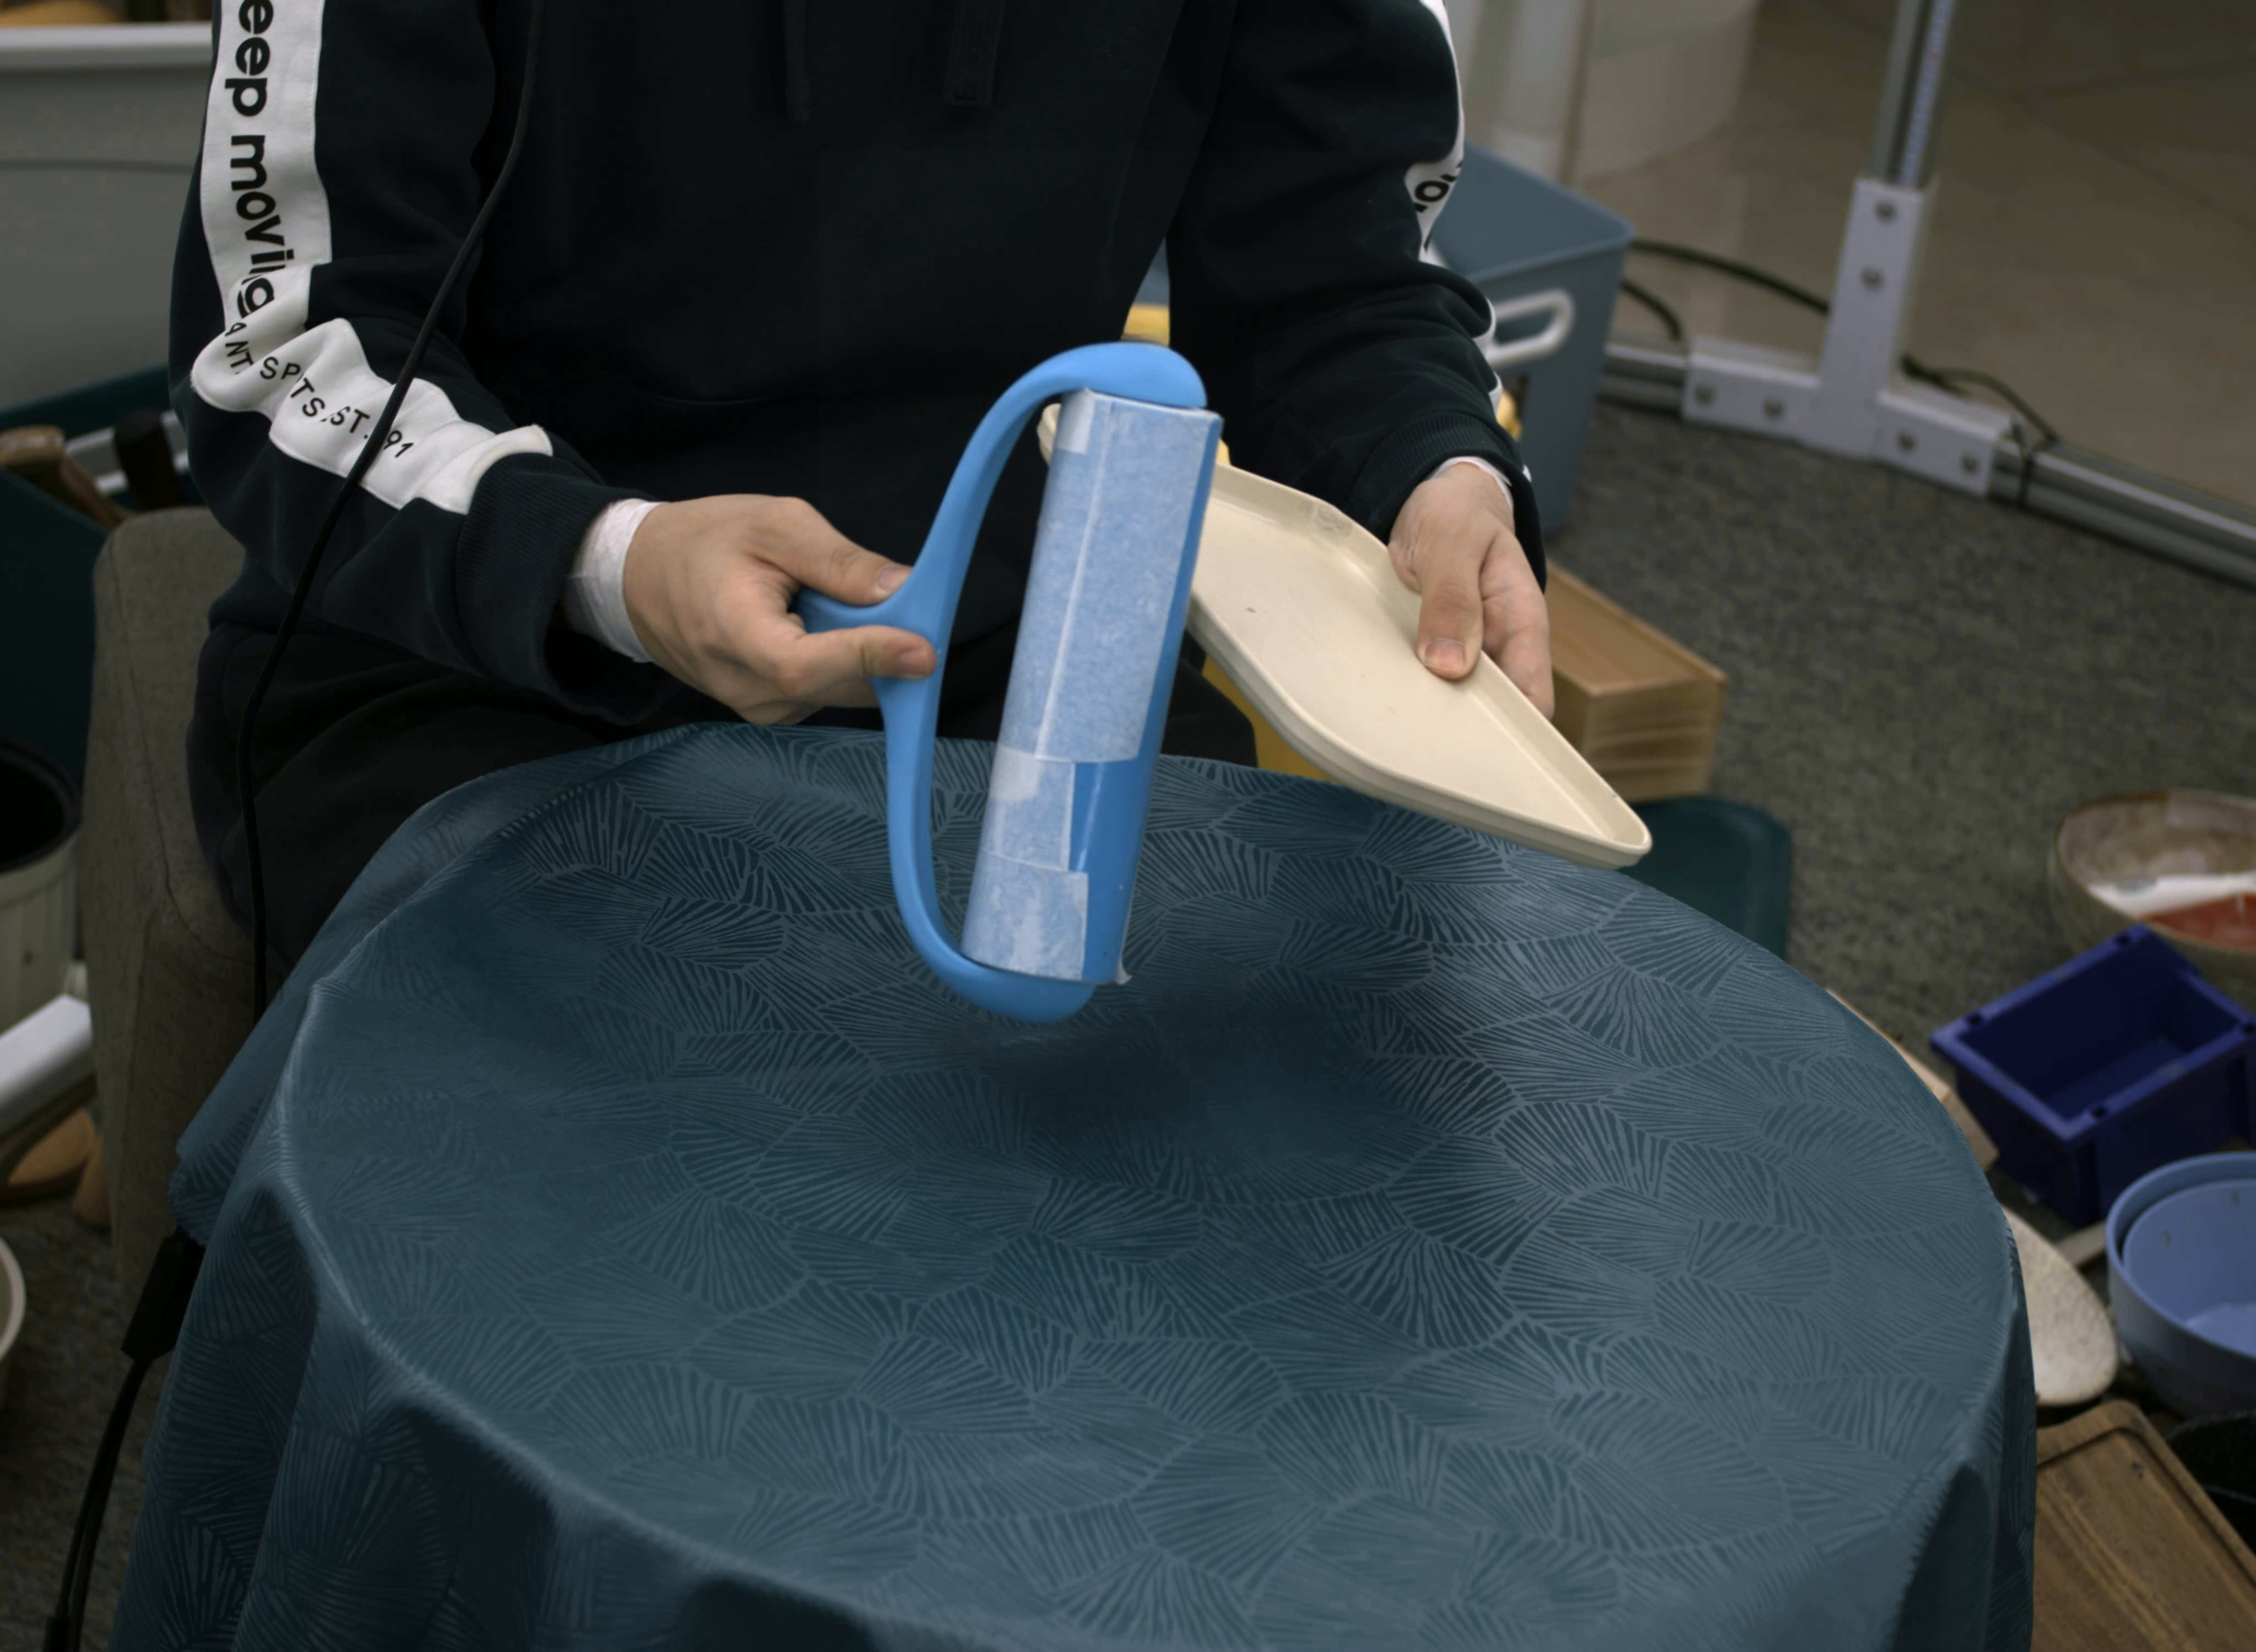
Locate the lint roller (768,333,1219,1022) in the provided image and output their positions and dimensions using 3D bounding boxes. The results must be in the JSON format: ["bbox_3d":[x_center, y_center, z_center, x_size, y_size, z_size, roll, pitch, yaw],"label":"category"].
[{"bbox_3d":[-0.063,-0.057,1.786,0.181,0.229,0.067,10,6,31],"label":"lint roller"}]

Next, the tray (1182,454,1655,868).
[{"bbox_3d":[0.072,-0.065,1.847,0.169,0.017,0.242,17,23,-39],"label":"tray"}]
